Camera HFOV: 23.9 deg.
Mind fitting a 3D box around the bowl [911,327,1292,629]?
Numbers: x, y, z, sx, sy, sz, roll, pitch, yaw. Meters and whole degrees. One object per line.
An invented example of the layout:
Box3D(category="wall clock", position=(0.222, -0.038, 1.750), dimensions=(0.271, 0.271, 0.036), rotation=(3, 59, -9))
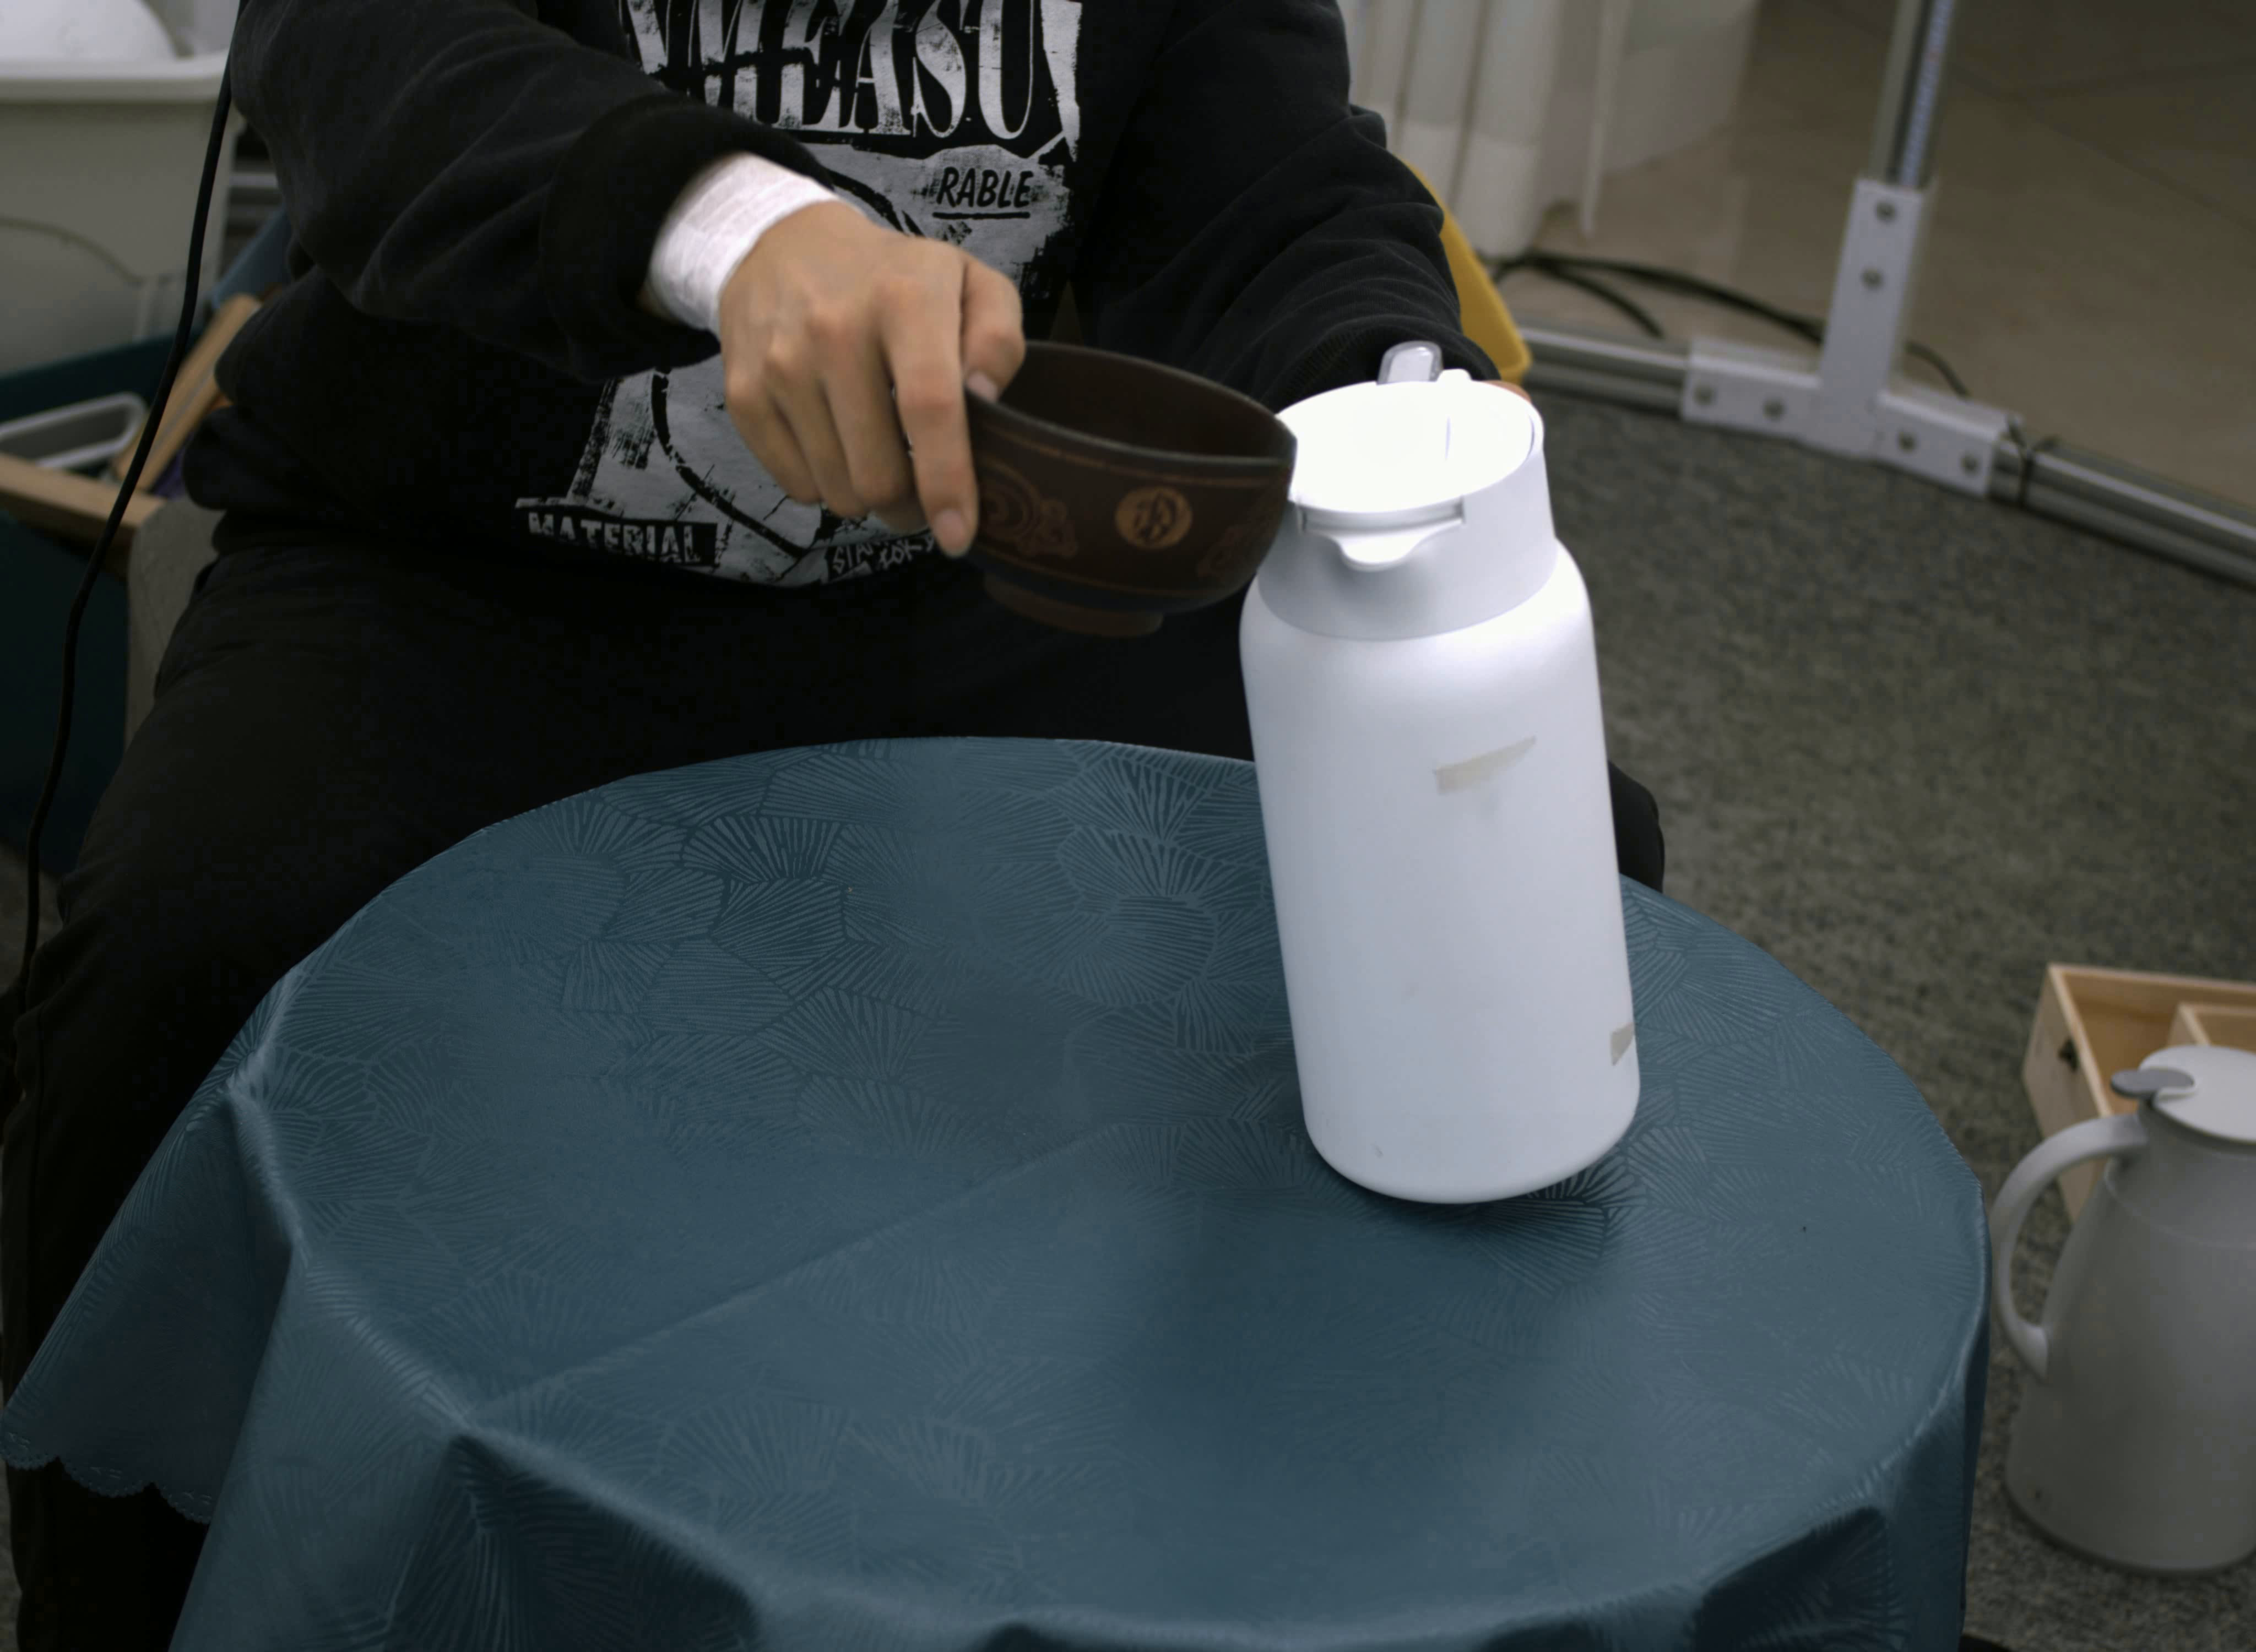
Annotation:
Box3D(category="bowl", position=(-0.012, -0.104, 1.663), dimensions=(0.117, 0.070, 0.118), rotation=(13, 20, -5))

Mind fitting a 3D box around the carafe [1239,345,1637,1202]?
Box3D(category="carafe", position=(0.103, -0.021, 1.802), dimensions=(0.124, 0.267, 0.173), rotation=(-5, 29, 11))
